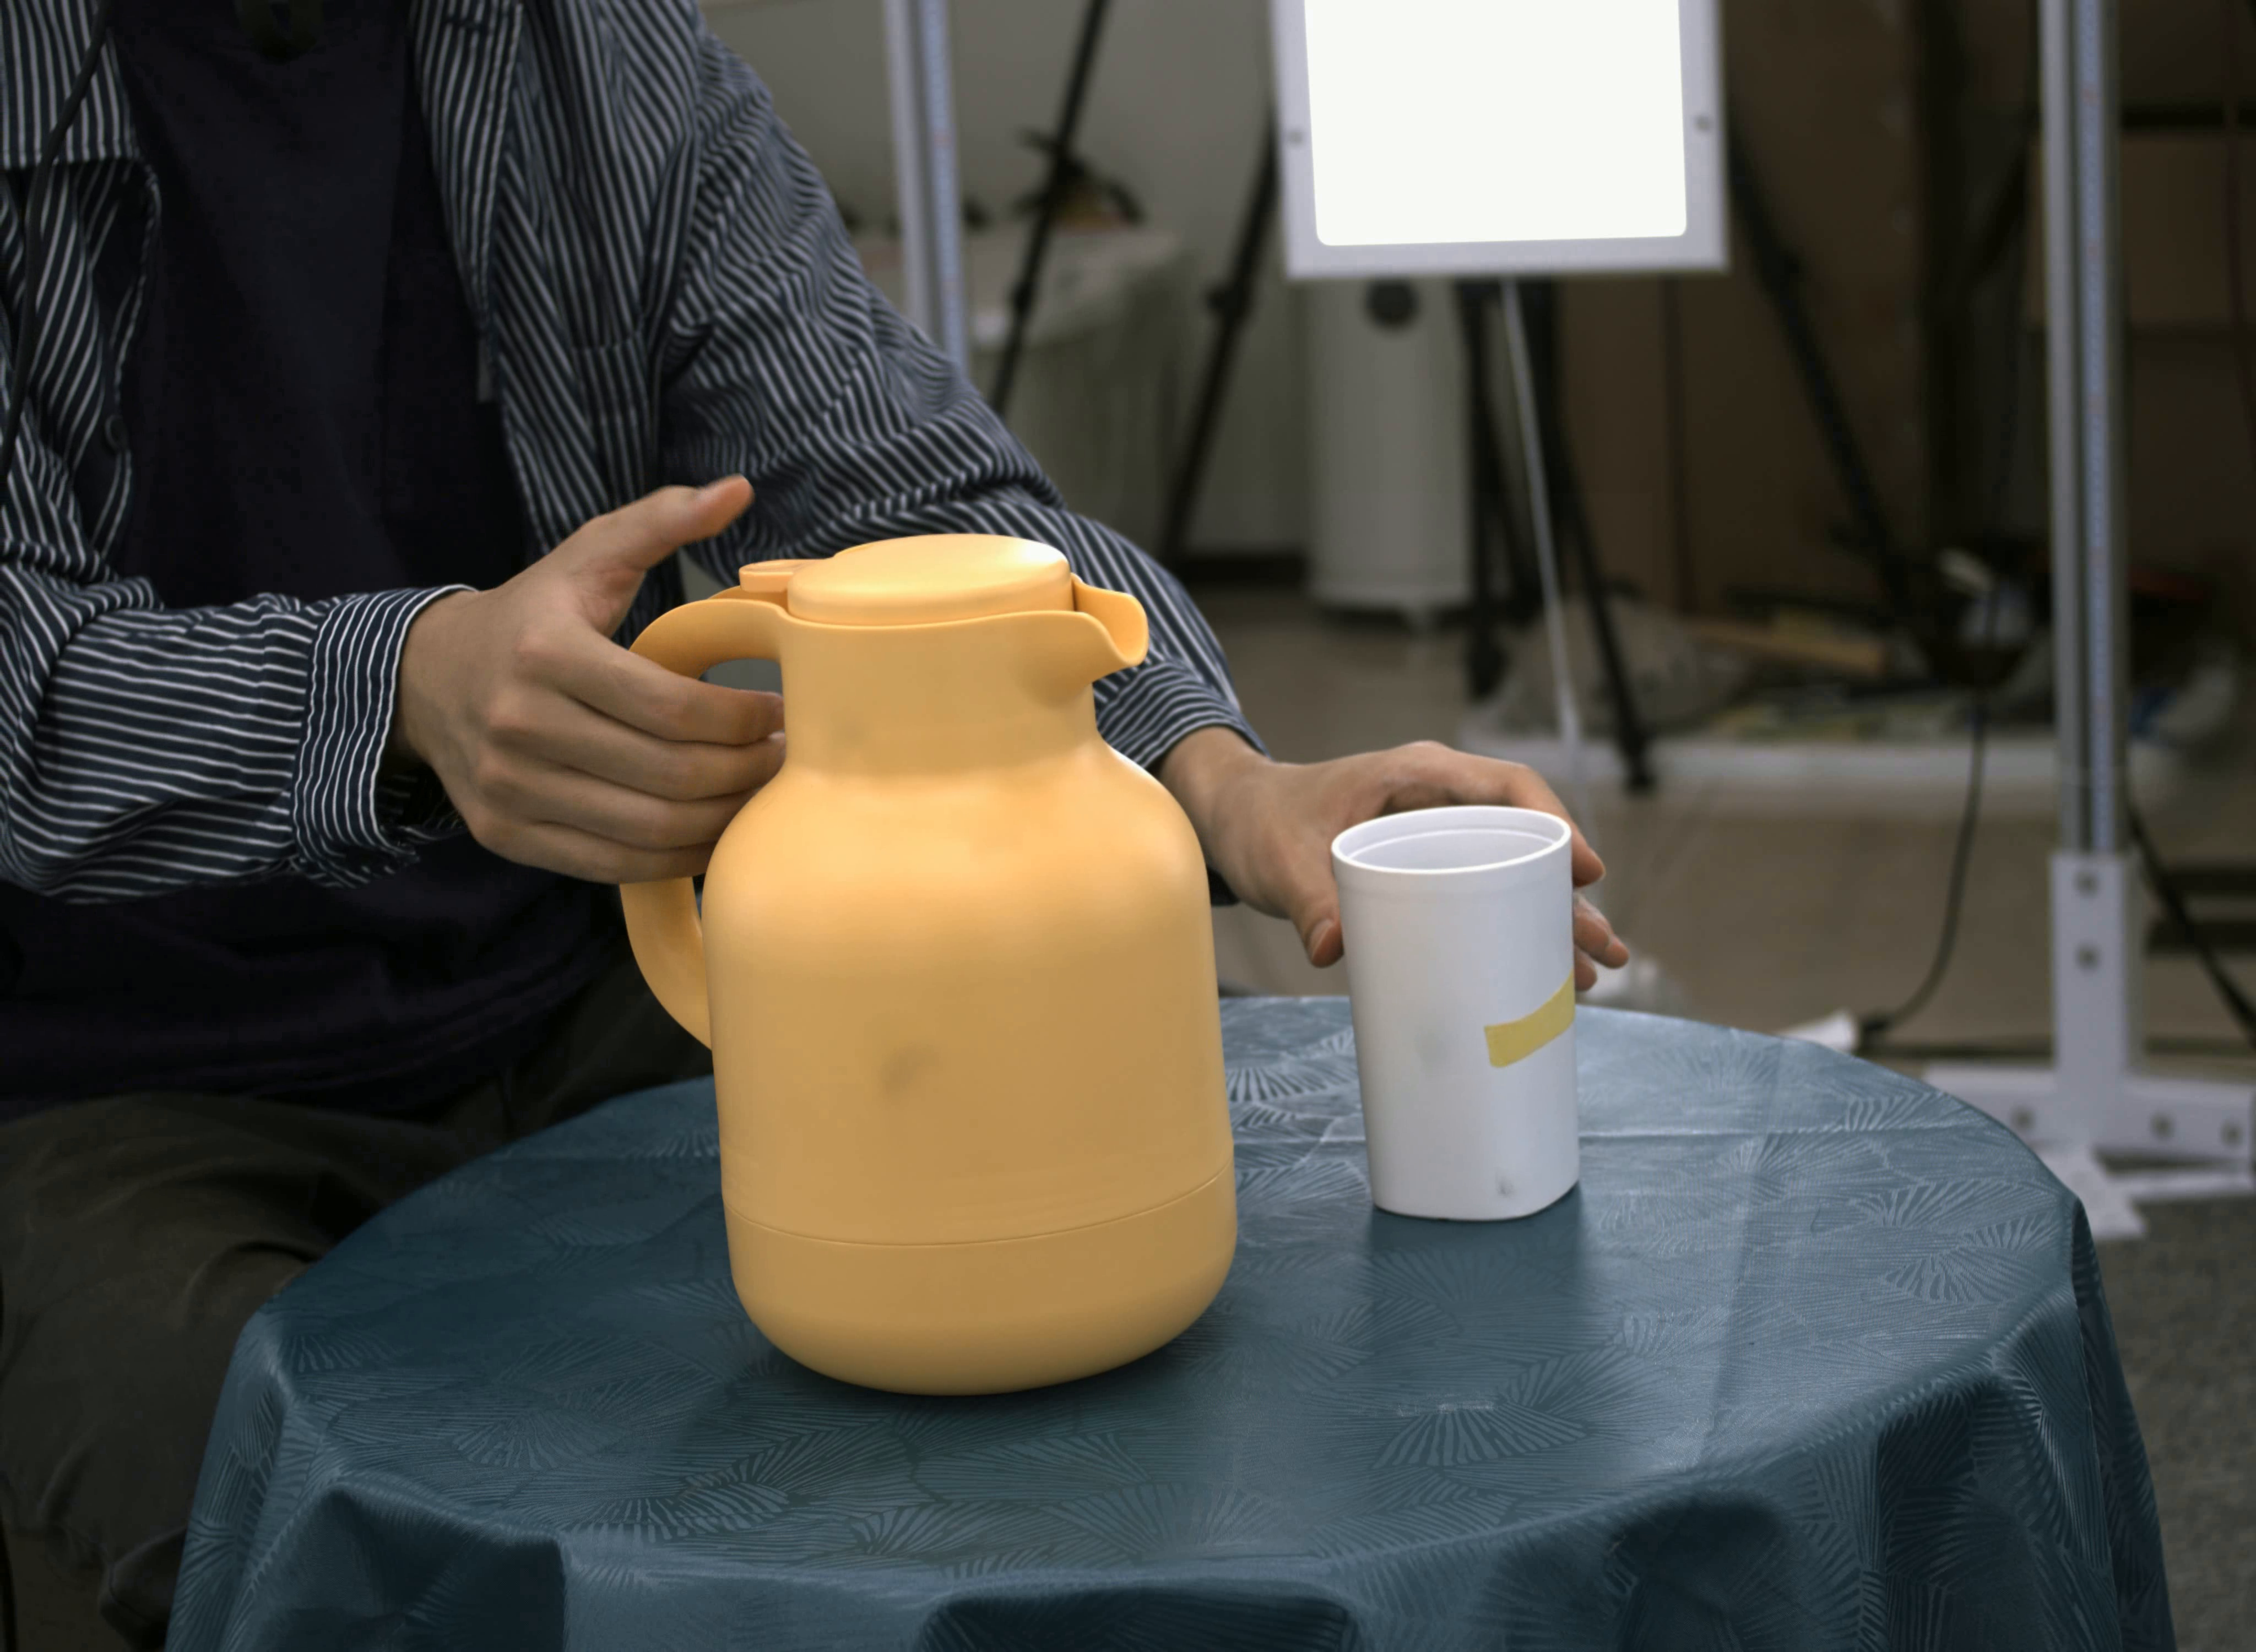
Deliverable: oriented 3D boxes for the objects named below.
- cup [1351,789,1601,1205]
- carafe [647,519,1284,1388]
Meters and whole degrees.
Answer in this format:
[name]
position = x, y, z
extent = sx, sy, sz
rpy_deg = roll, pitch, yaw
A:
[cup]
position = 0.121, 0.058, 1.853
extent = 0.081, 0.126, 0.081
rpy_deg = -6, 14, 0
[carafe]
position = -0.055, 0.035, 1.739
extent = 0.206, 0.261, 0.160
rpy_deg = 4, 15, 29
